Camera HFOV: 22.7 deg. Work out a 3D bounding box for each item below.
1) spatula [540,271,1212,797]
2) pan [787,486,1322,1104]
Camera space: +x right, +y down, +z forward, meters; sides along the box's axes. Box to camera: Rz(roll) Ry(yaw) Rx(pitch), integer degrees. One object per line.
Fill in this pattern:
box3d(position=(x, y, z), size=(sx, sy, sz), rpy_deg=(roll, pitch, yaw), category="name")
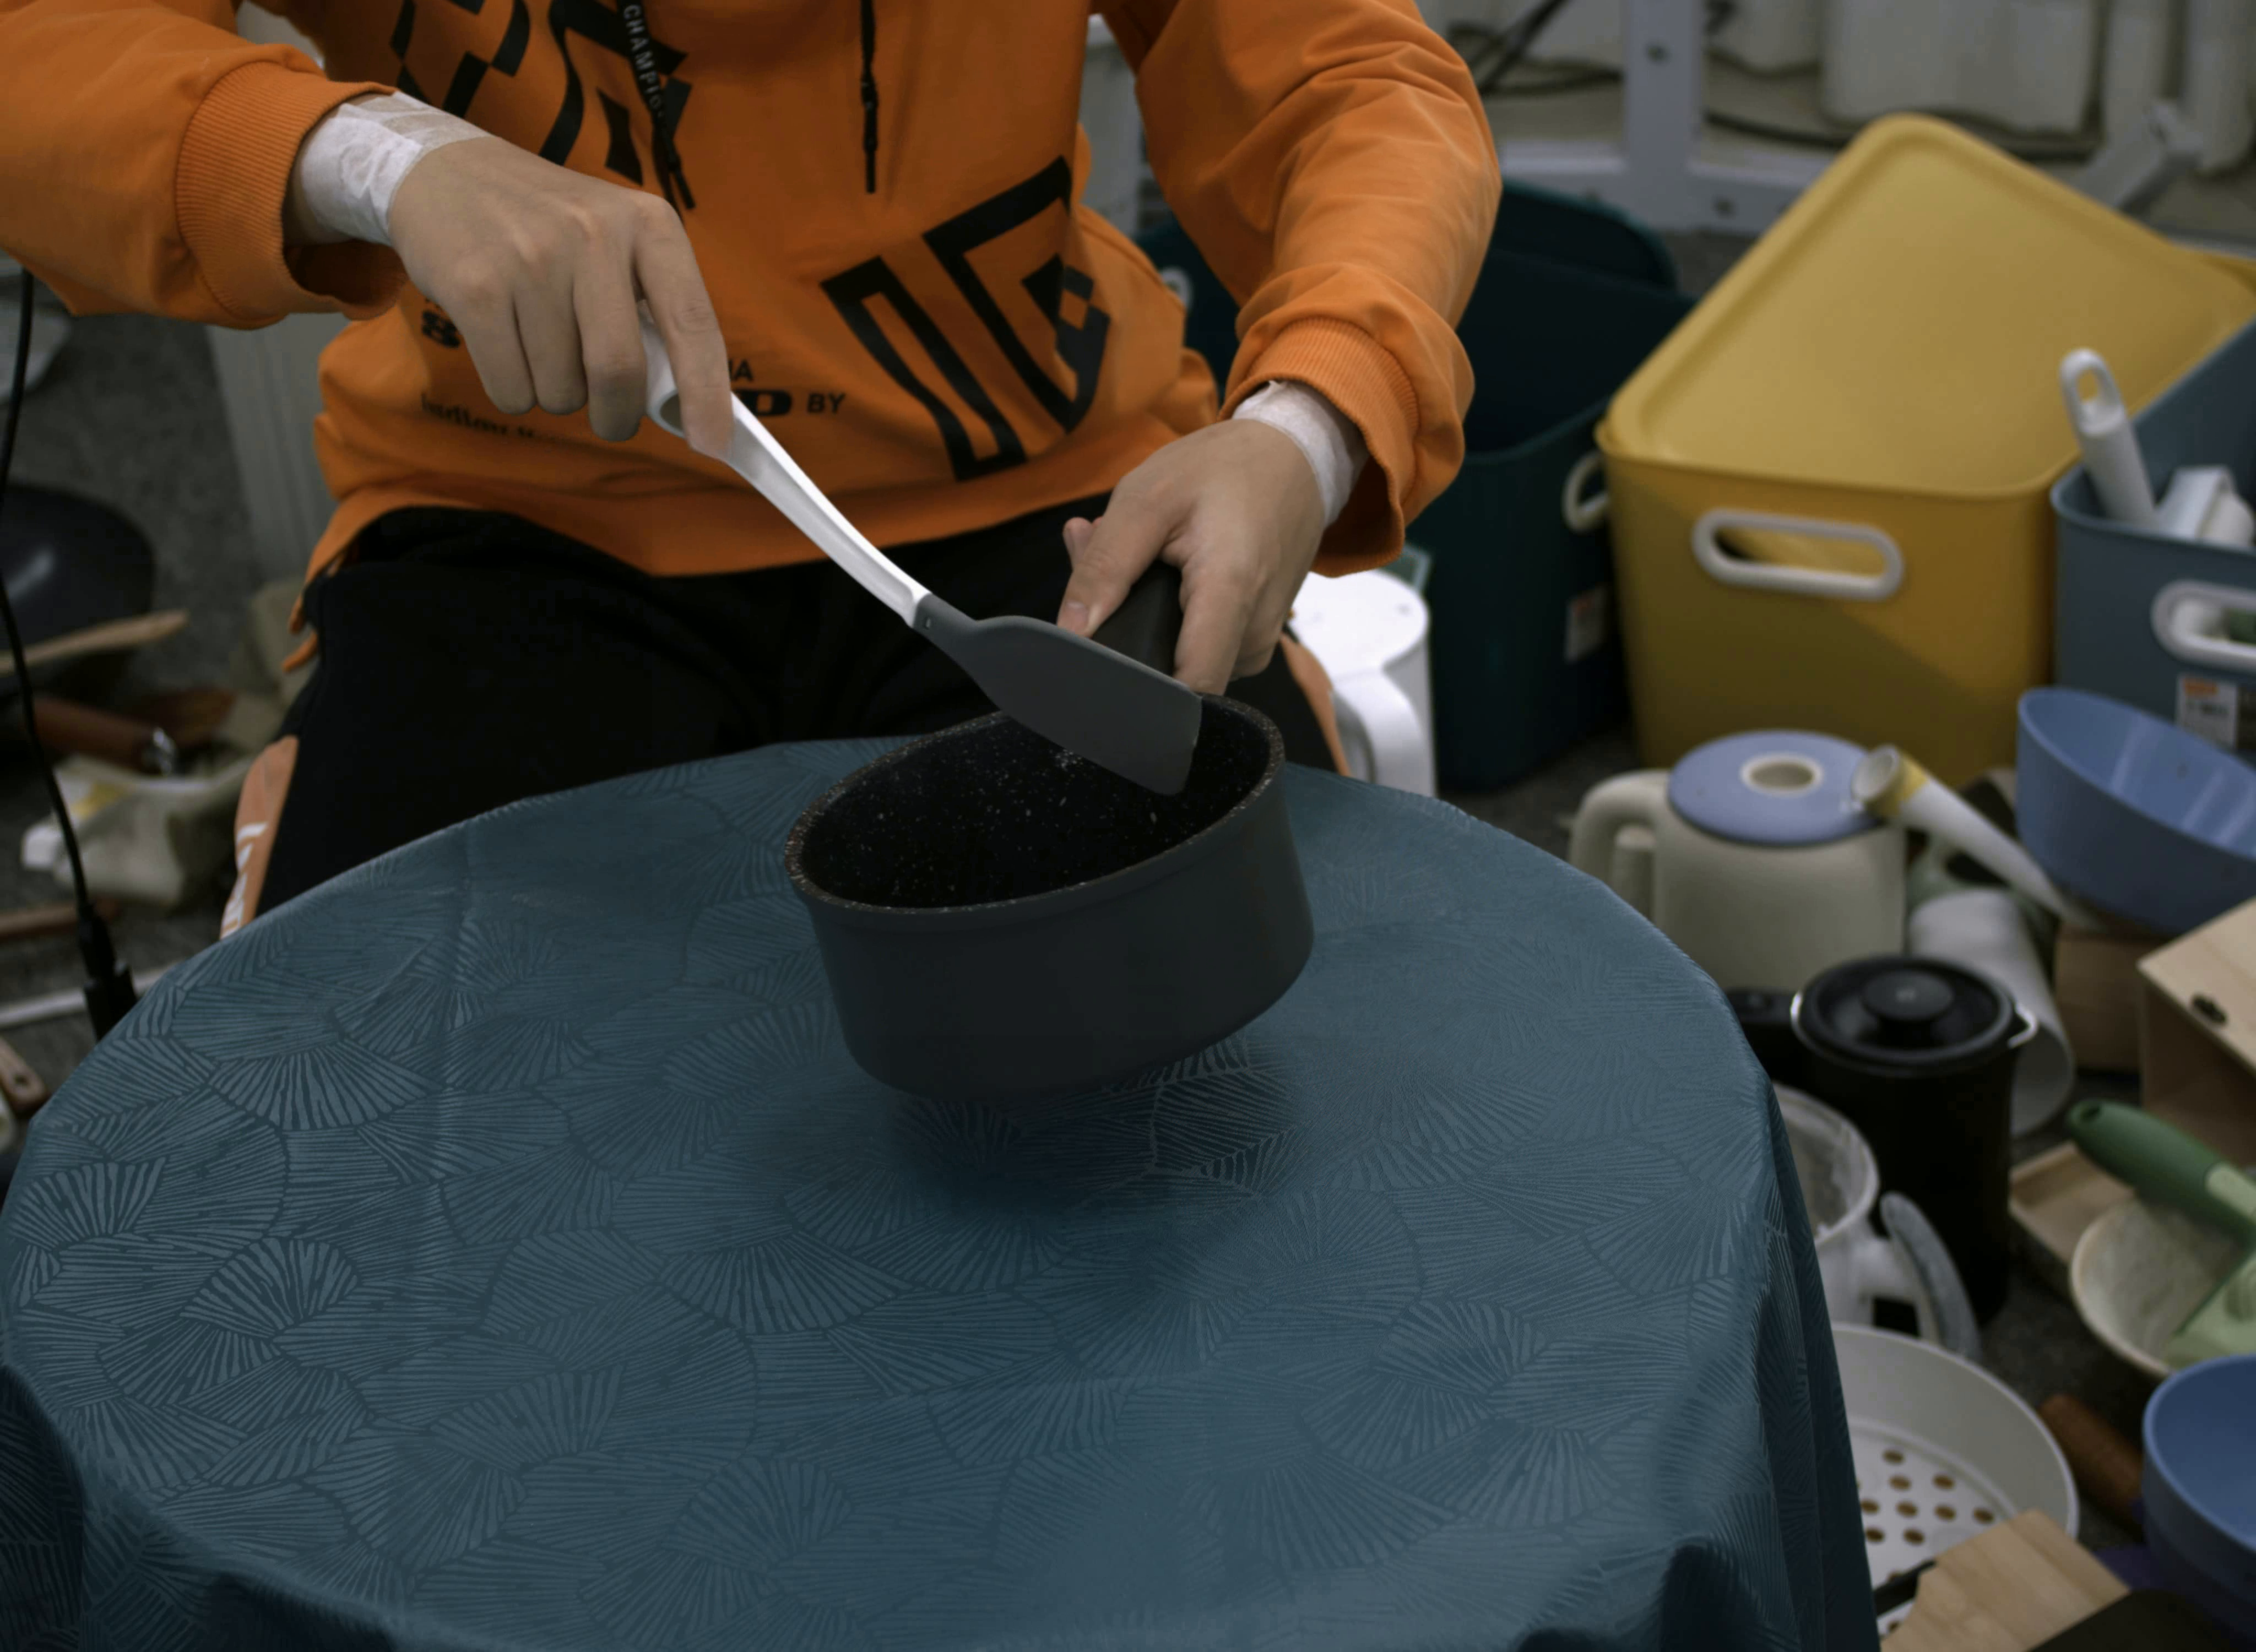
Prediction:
box3d(position=(-0.088, -0.100, 1.929), size=(0.288, 0.057, 0.033), rpy_deg=(37, 45, 20), category="spatula")
box3d(position=(-0.004, -0.014, 1.949), size=(0.170, 0.086, 0.334), rpy_deg=(-5, 25, 18), category="pan")
